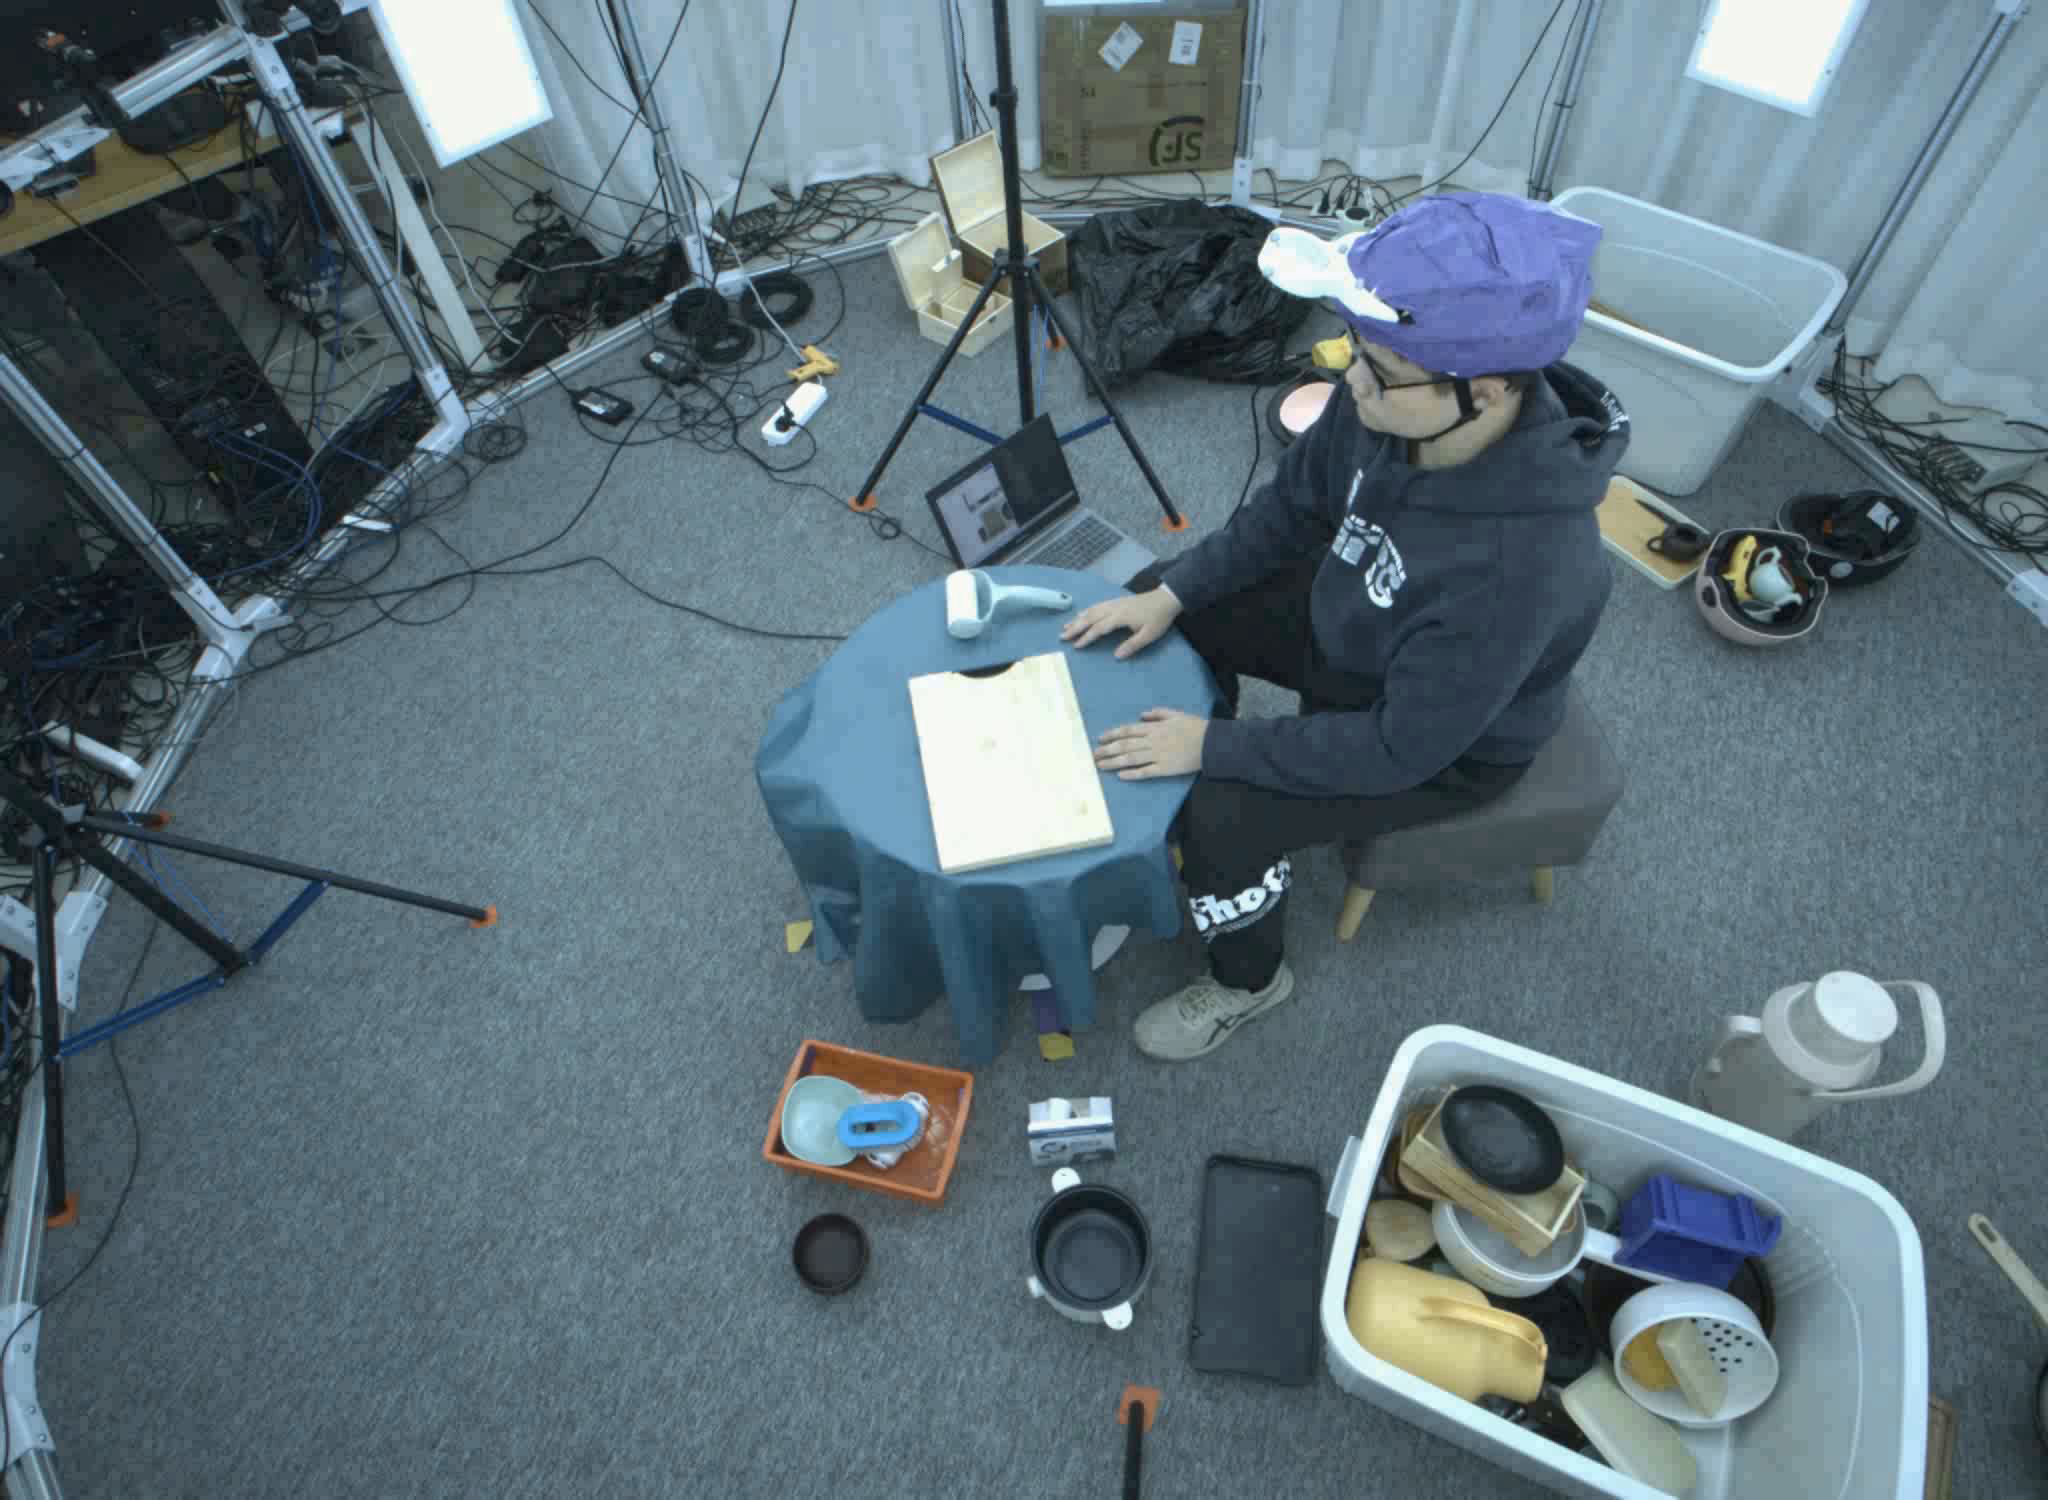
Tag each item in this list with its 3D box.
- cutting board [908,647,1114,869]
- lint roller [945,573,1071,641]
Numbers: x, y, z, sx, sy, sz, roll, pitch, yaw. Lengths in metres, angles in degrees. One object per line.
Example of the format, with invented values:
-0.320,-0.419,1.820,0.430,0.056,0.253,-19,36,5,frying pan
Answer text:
-0.026,0.006,1.775,0.252,0.024,0.343,-10,55,-6,cutting board
-0.024,-0.229,1.924,0.198,0.049,0.115,-4,52,-4,lint roller
